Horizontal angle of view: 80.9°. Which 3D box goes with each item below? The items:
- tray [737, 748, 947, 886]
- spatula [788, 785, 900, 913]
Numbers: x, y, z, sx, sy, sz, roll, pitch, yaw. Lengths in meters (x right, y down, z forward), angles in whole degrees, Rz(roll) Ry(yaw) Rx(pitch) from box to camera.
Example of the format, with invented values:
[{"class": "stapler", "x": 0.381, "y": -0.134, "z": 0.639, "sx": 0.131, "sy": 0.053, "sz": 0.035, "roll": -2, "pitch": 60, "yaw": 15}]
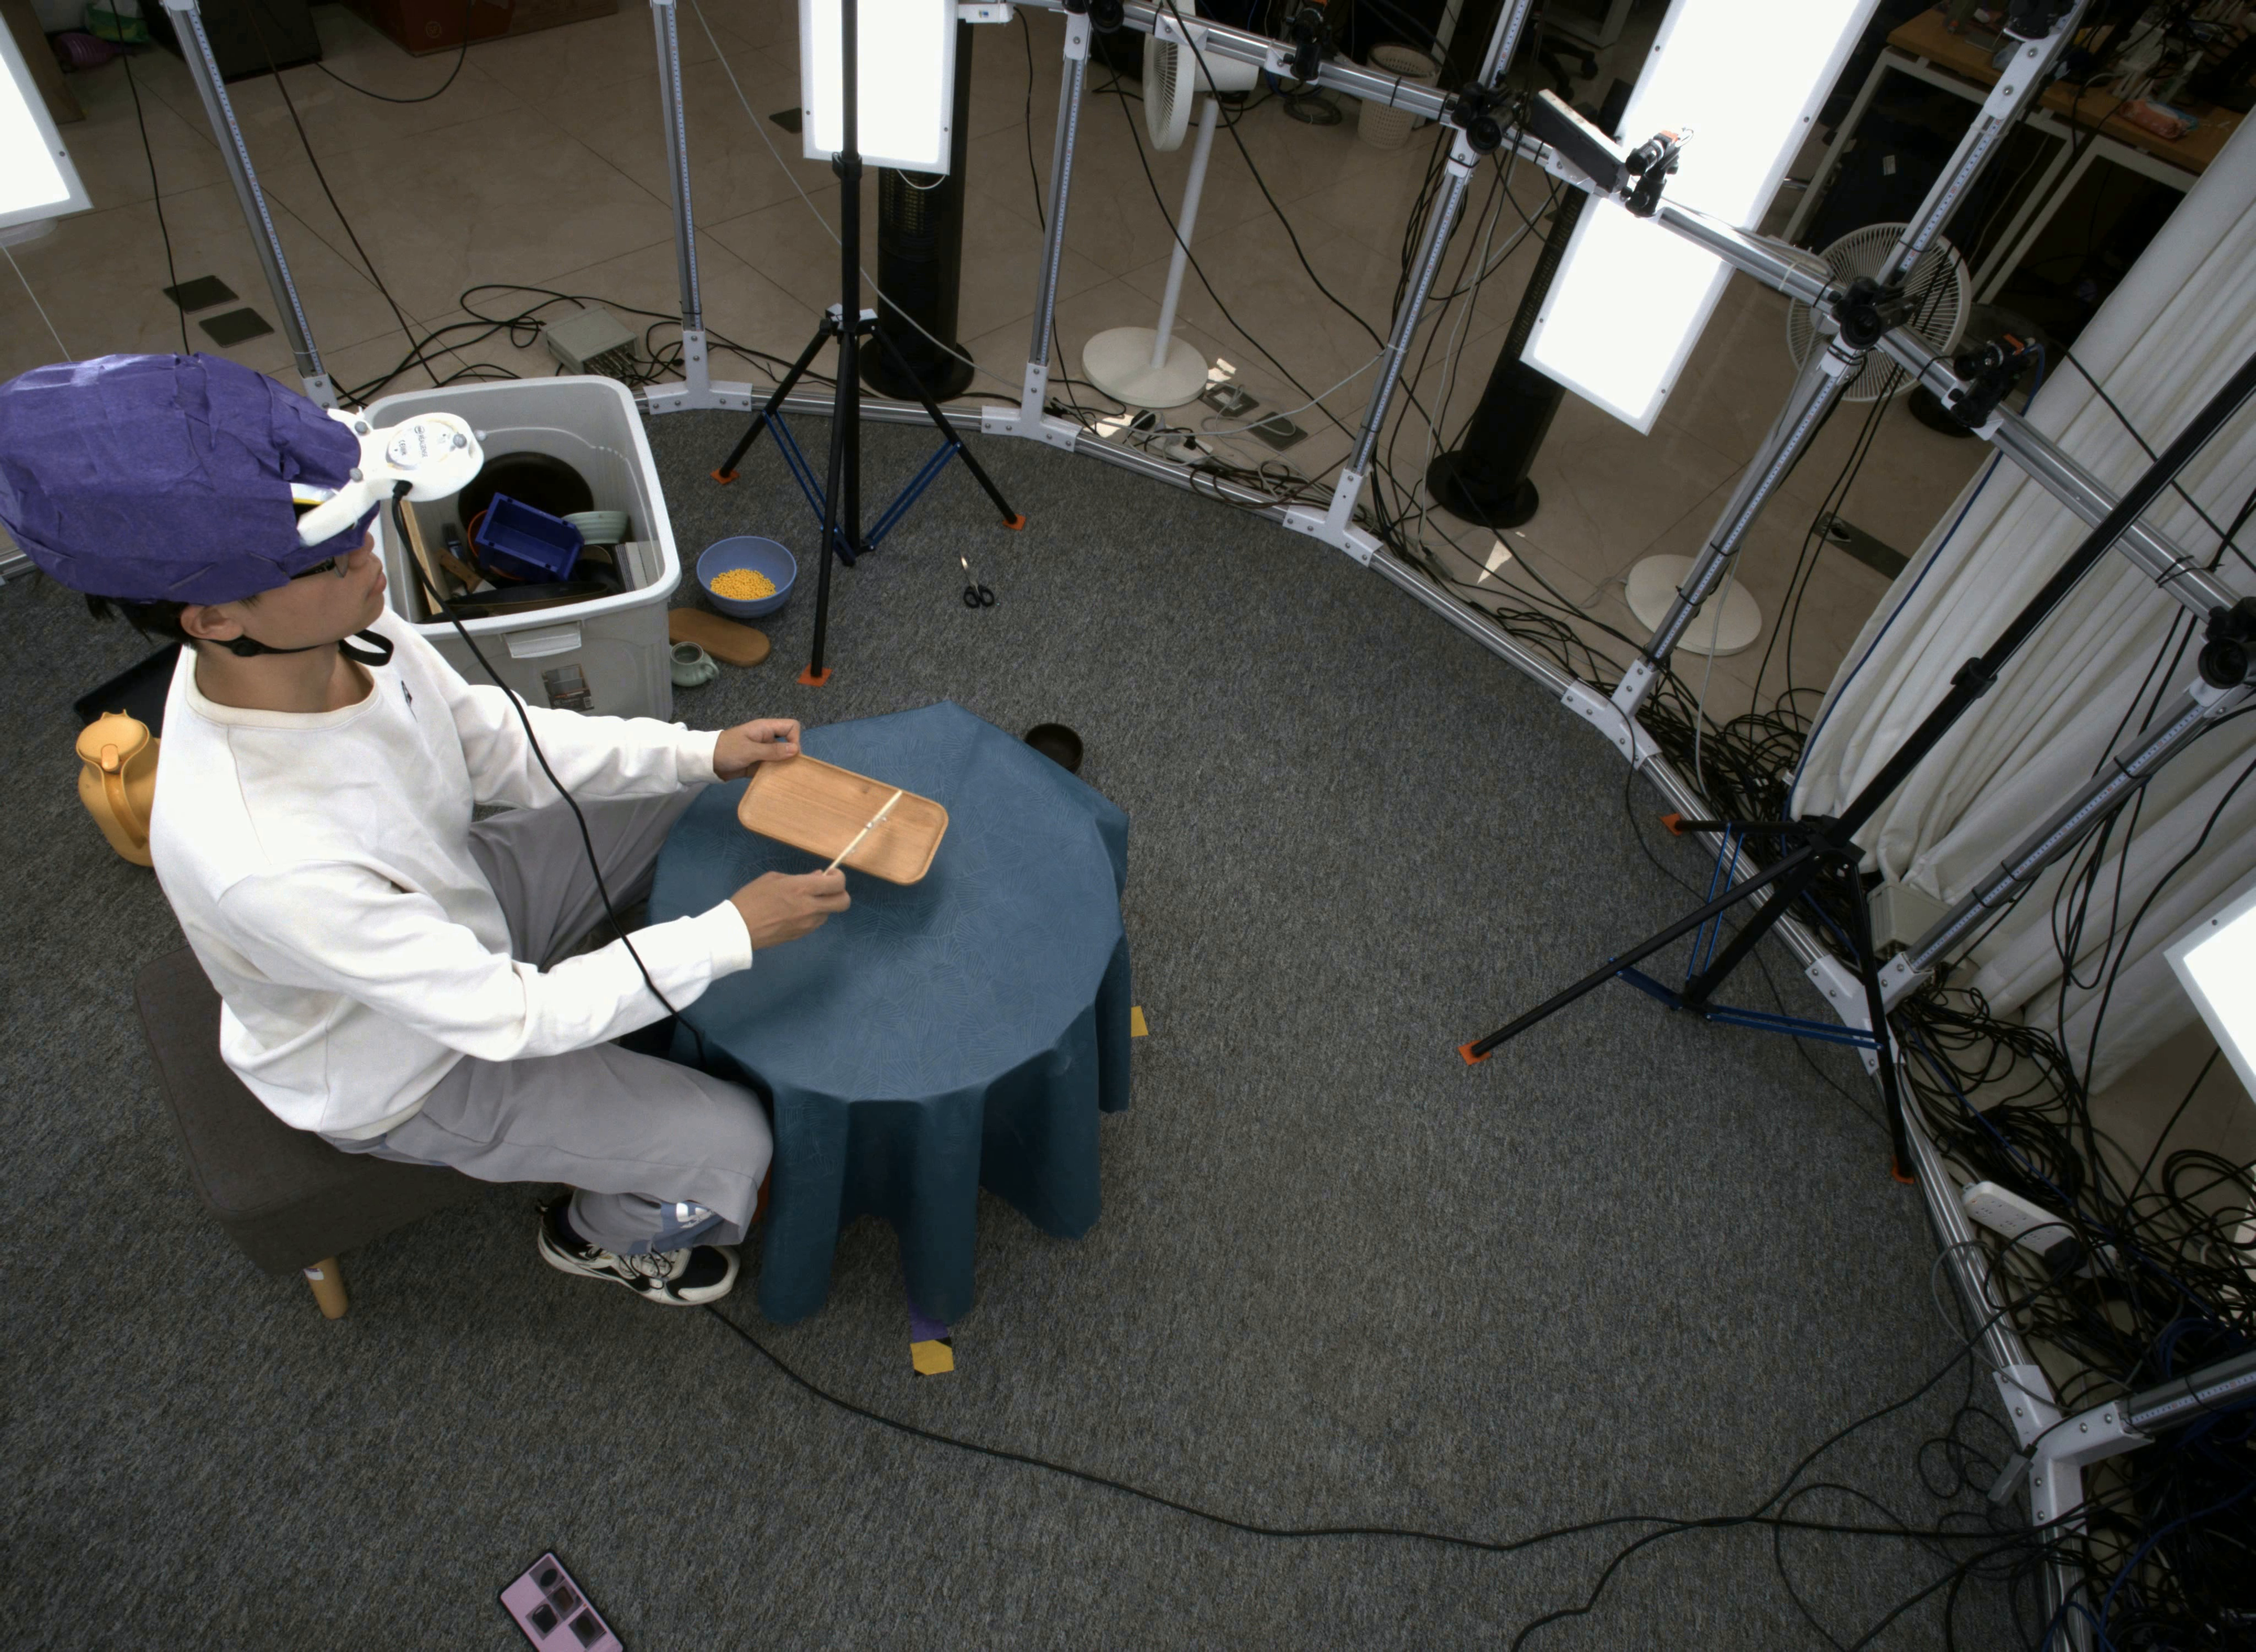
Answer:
[{"class": "tray", "x": -0.361, "y": -0.012, "z": 1.647, "sx": 0.249, "sy": 0.023, "sz": 0.129, "roll": 20, "pitch": 56, "yaw": -3}, {"class": "spatula", "x": -0.344, "y": 0.028, "z": 1.577, "sx": 0.005, "sy": 0.050, "sz": 0.207, "roll": 38, "pitch": 60, "yaw": 1}]
